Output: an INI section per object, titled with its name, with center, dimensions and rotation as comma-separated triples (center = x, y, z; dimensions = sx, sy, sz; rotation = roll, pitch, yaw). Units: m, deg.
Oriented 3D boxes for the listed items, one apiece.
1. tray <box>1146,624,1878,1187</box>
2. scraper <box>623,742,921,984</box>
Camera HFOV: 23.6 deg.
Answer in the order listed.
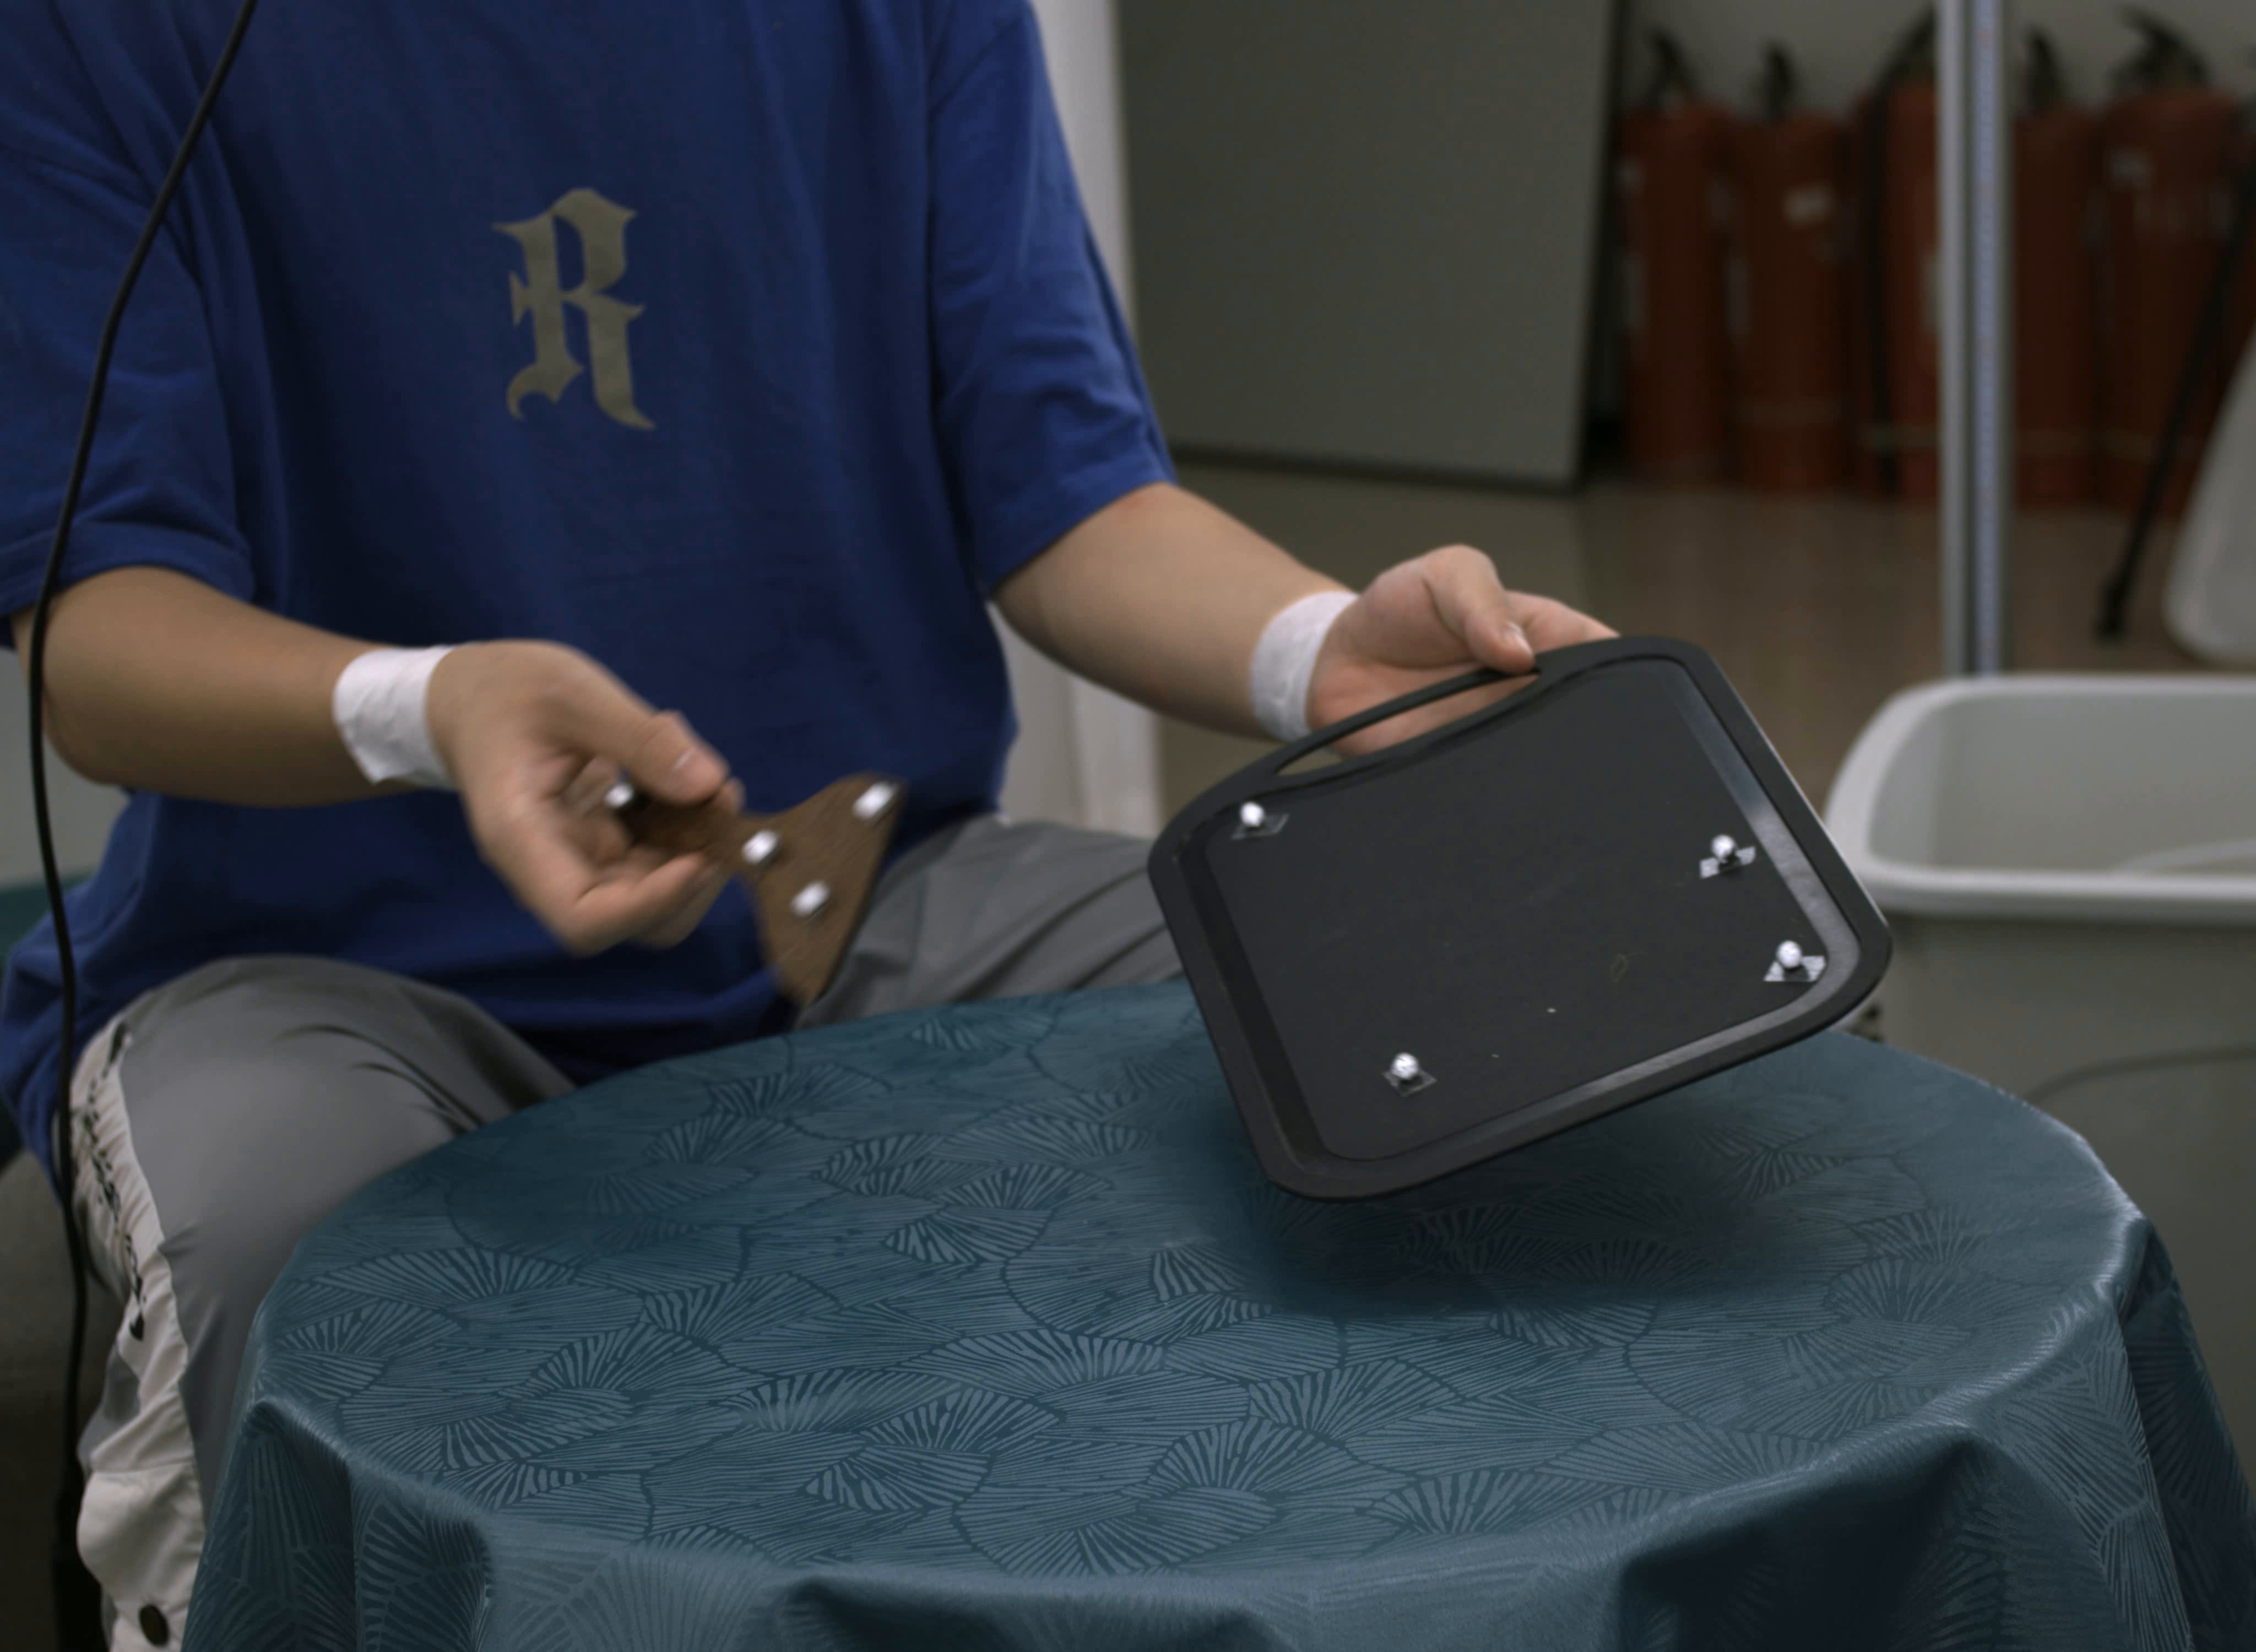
[tray]
center = 0.116, 0.016, 1.767
dimensions = 0.209, 0.010, 0.327
rotation = -22, 25, 2
[scraper]
center = -0.119, 0.000, 1.744
dimensions = 0.010, 0.076, 0.213
rotation = 21, -1, -28
